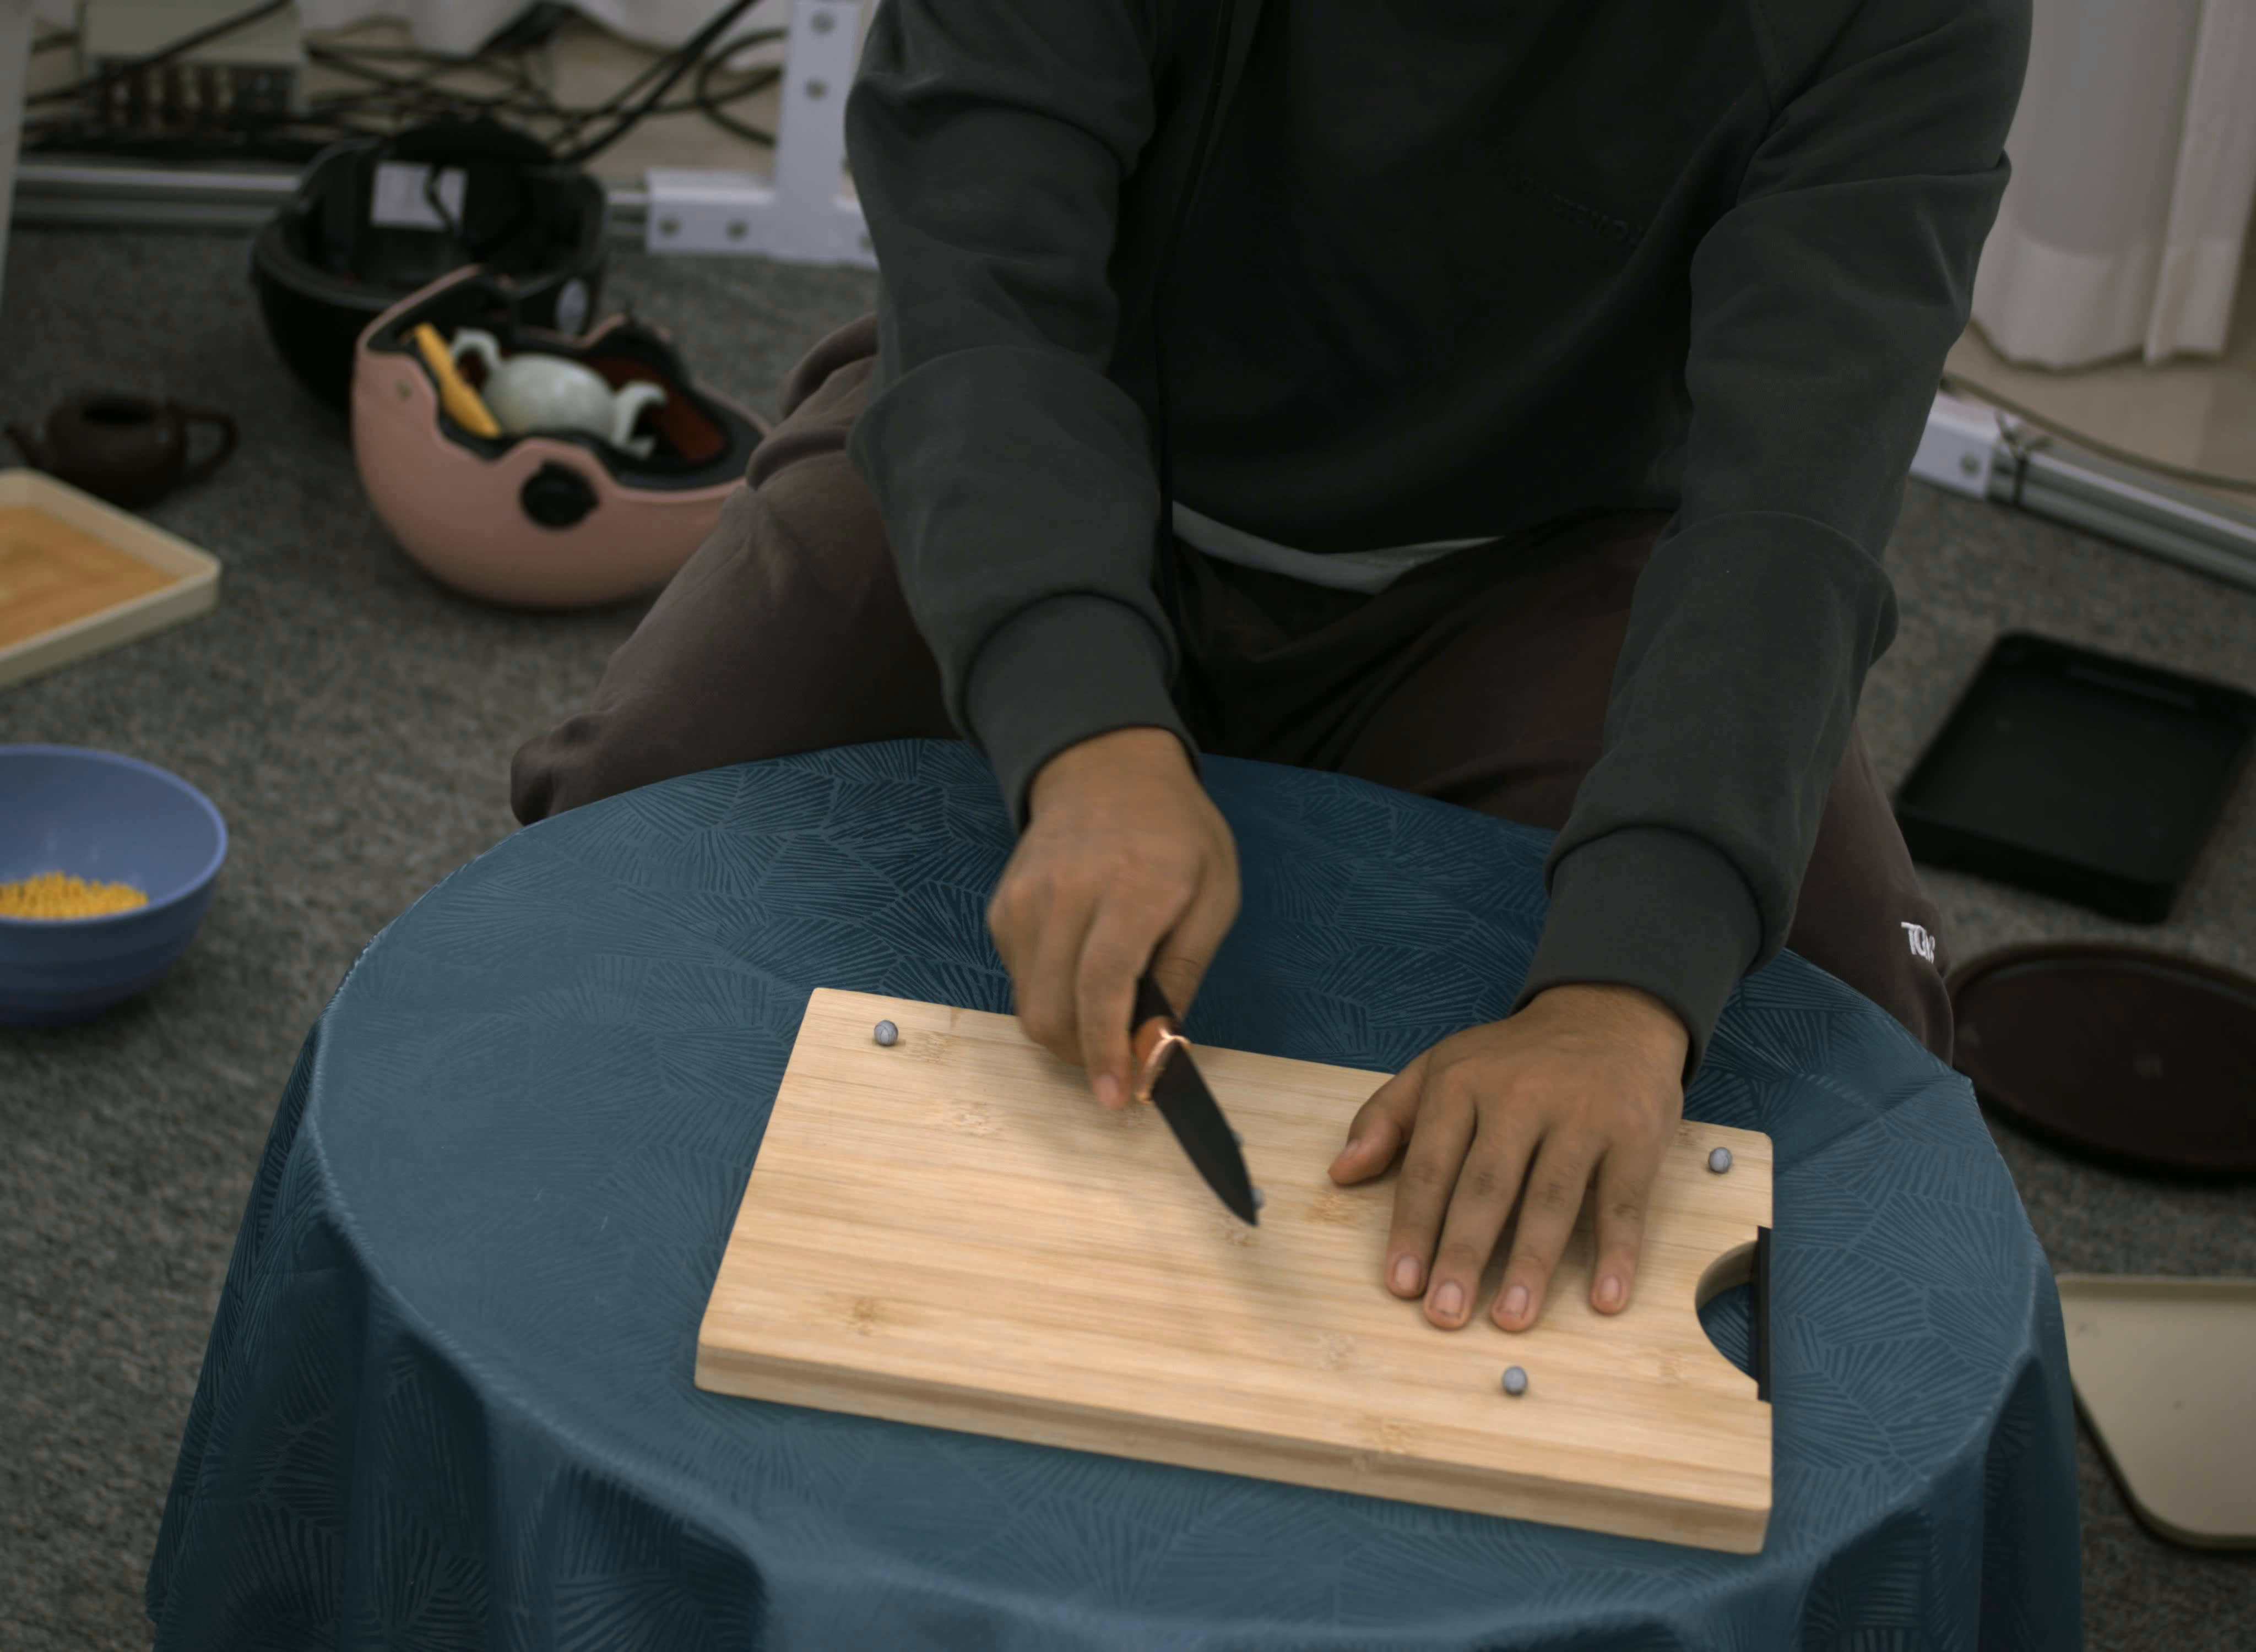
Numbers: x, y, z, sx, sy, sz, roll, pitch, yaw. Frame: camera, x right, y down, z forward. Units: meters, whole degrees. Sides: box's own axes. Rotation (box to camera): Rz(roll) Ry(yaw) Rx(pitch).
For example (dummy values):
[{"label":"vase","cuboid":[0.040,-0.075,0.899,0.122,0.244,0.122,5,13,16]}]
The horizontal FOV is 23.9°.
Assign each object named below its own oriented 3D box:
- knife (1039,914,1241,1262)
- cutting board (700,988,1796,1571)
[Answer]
[{"label":"knife","cuboid":[0.006,0.083,1.761,0.017,0.026,0.227,26,15,-26]},{"label":"cutting board","cuboid":[0.048,0.144,1.760,0.348,0.023,0.252,8,27,3]}]
